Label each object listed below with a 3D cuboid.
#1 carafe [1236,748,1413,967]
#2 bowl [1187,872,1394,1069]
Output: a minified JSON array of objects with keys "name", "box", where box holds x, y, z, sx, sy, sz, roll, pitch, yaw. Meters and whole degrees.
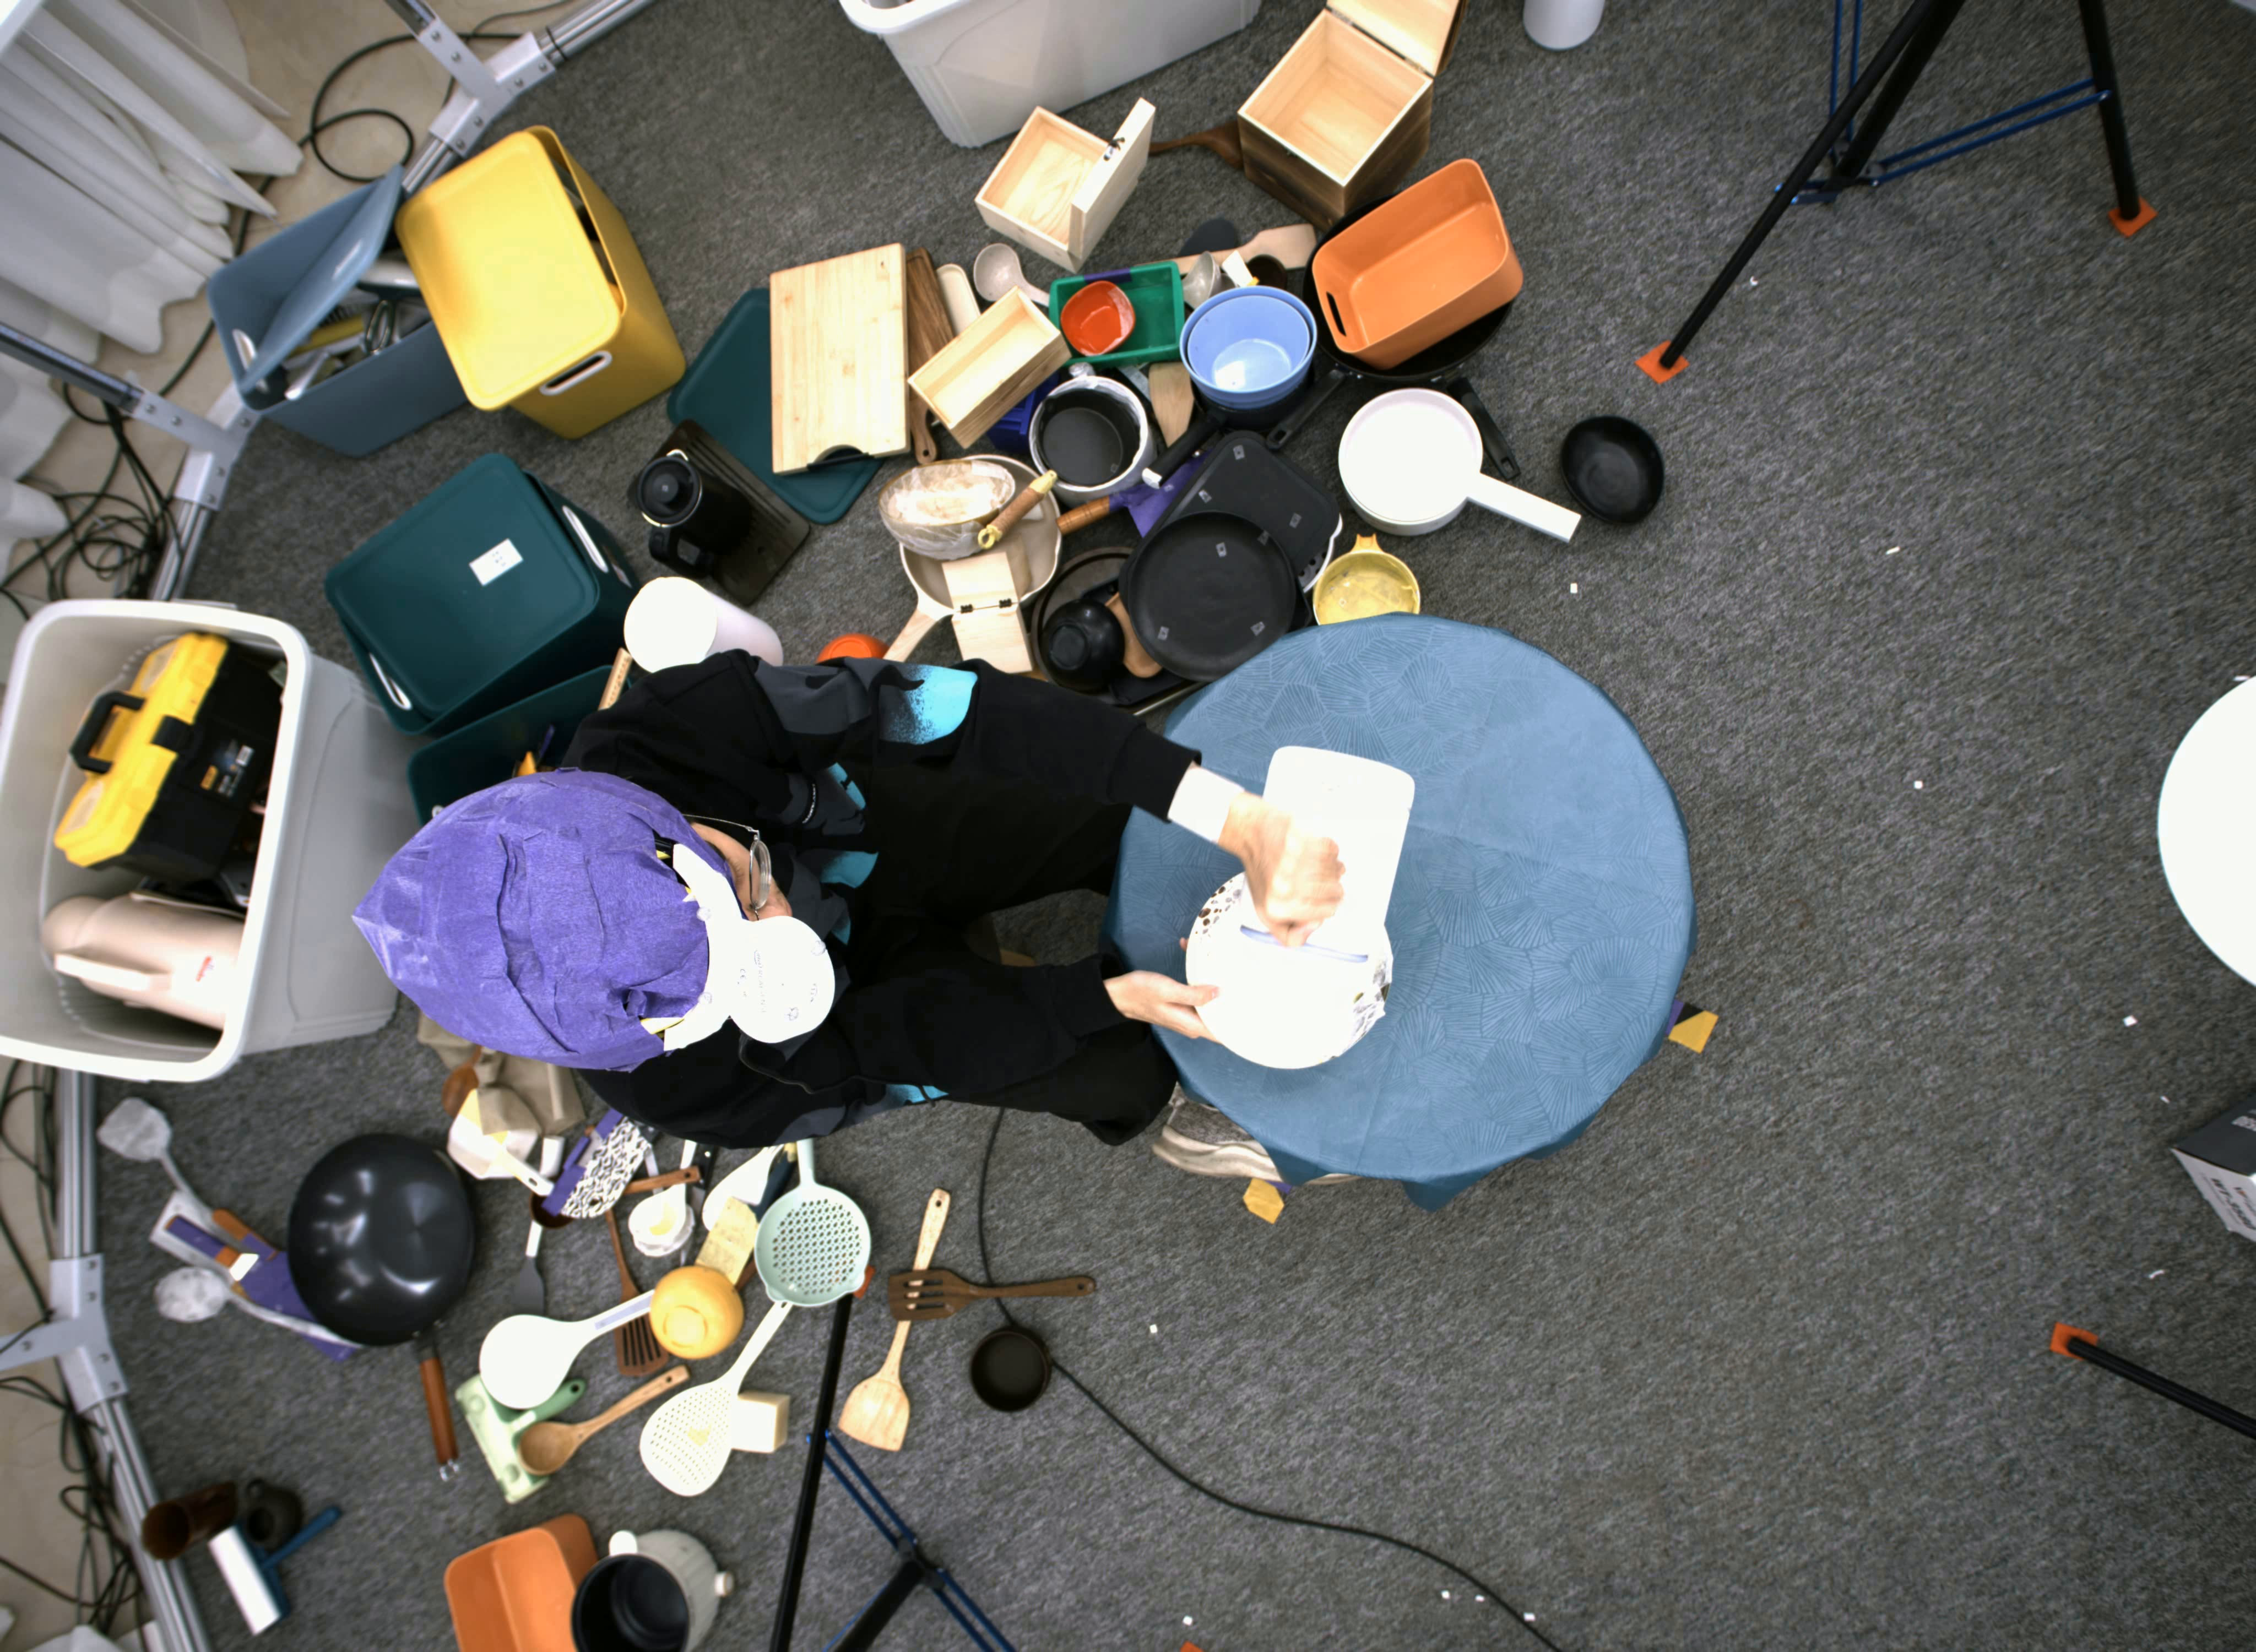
[{"name":"carafe","box":[0.166,0.024,1.210,0.132,0.191,0.182,13,89,18]},{"name":"bowl","box":[0.166,0.141,1.397,0.205,0.078,0.202,-2,83,13]}]
